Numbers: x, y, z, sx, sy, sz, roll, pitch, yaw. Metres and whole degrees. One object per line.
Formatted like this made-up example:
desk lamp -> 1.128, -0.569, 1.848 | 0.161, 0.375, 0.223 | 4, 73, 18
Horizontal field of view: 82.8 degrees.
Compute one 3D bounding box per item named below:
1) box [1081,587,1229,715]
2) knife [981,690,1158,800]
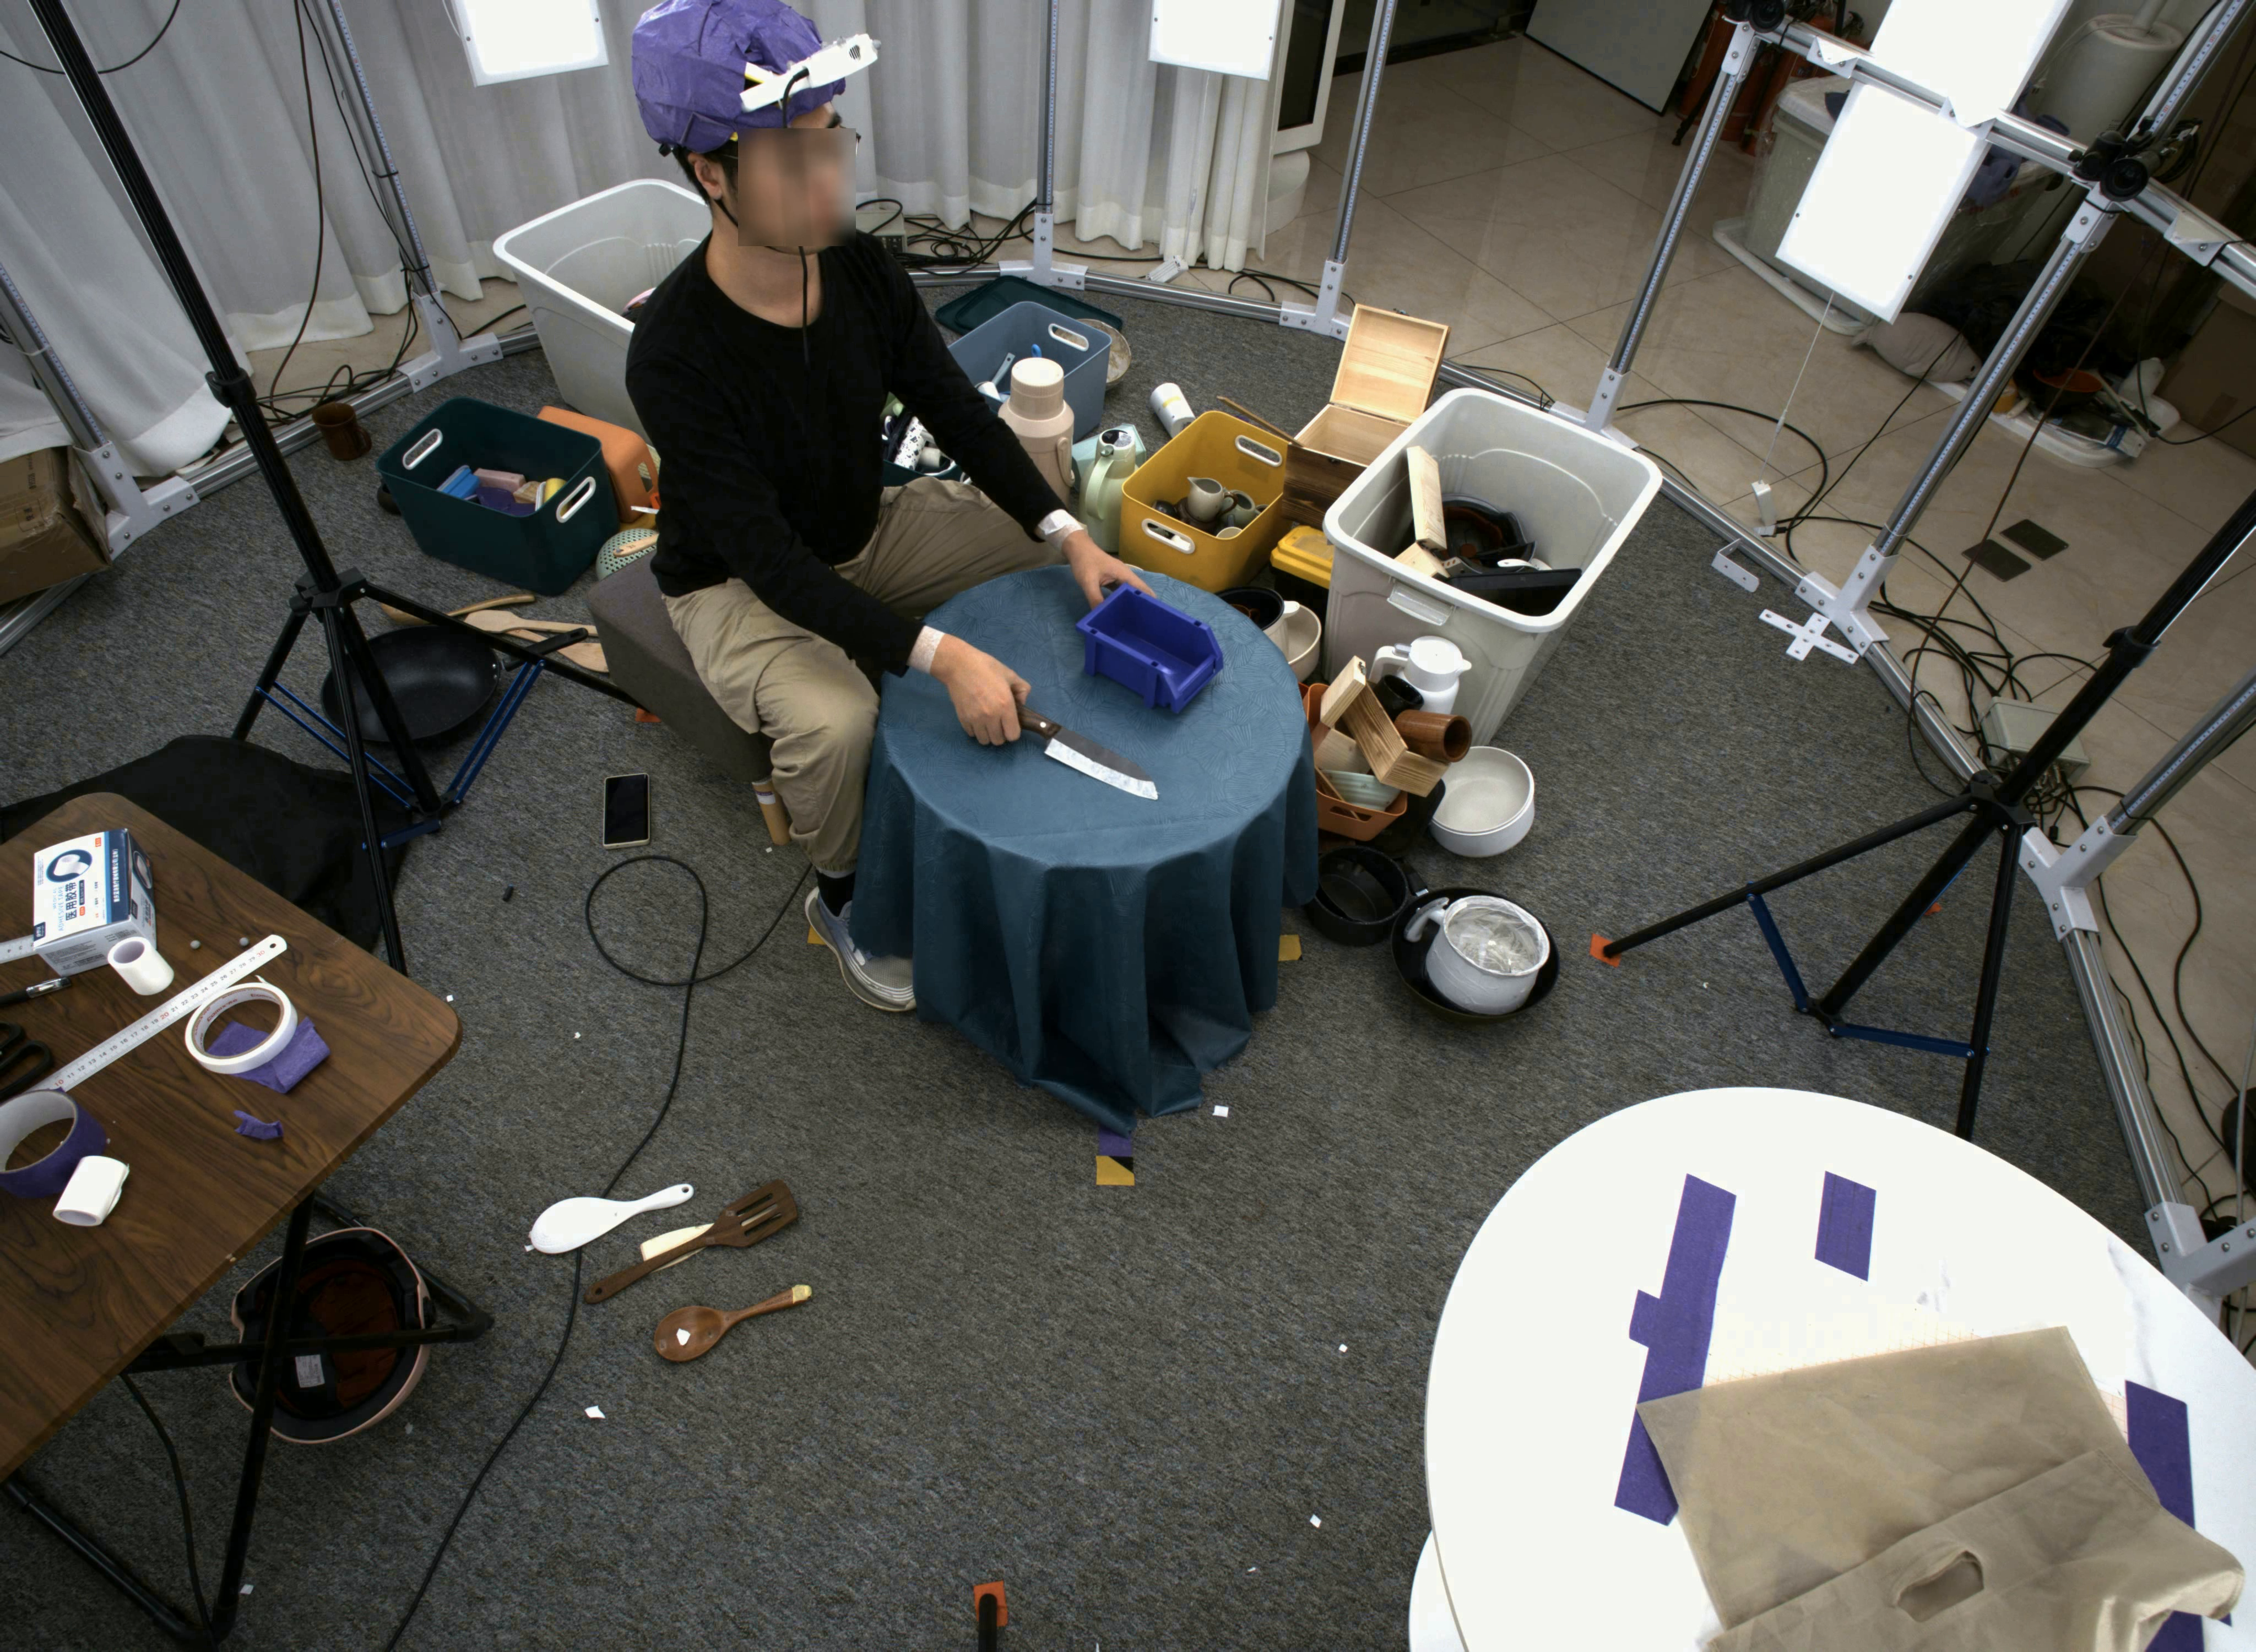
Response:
box -> 0.040, -0.248, 1.835 | 0.181, 0.080, 0.126 | 30, 53, 23
knife -> -0.081, -0.110, 1.737 | 0.291, 0.020, 0.050 | 30, 86, 15
